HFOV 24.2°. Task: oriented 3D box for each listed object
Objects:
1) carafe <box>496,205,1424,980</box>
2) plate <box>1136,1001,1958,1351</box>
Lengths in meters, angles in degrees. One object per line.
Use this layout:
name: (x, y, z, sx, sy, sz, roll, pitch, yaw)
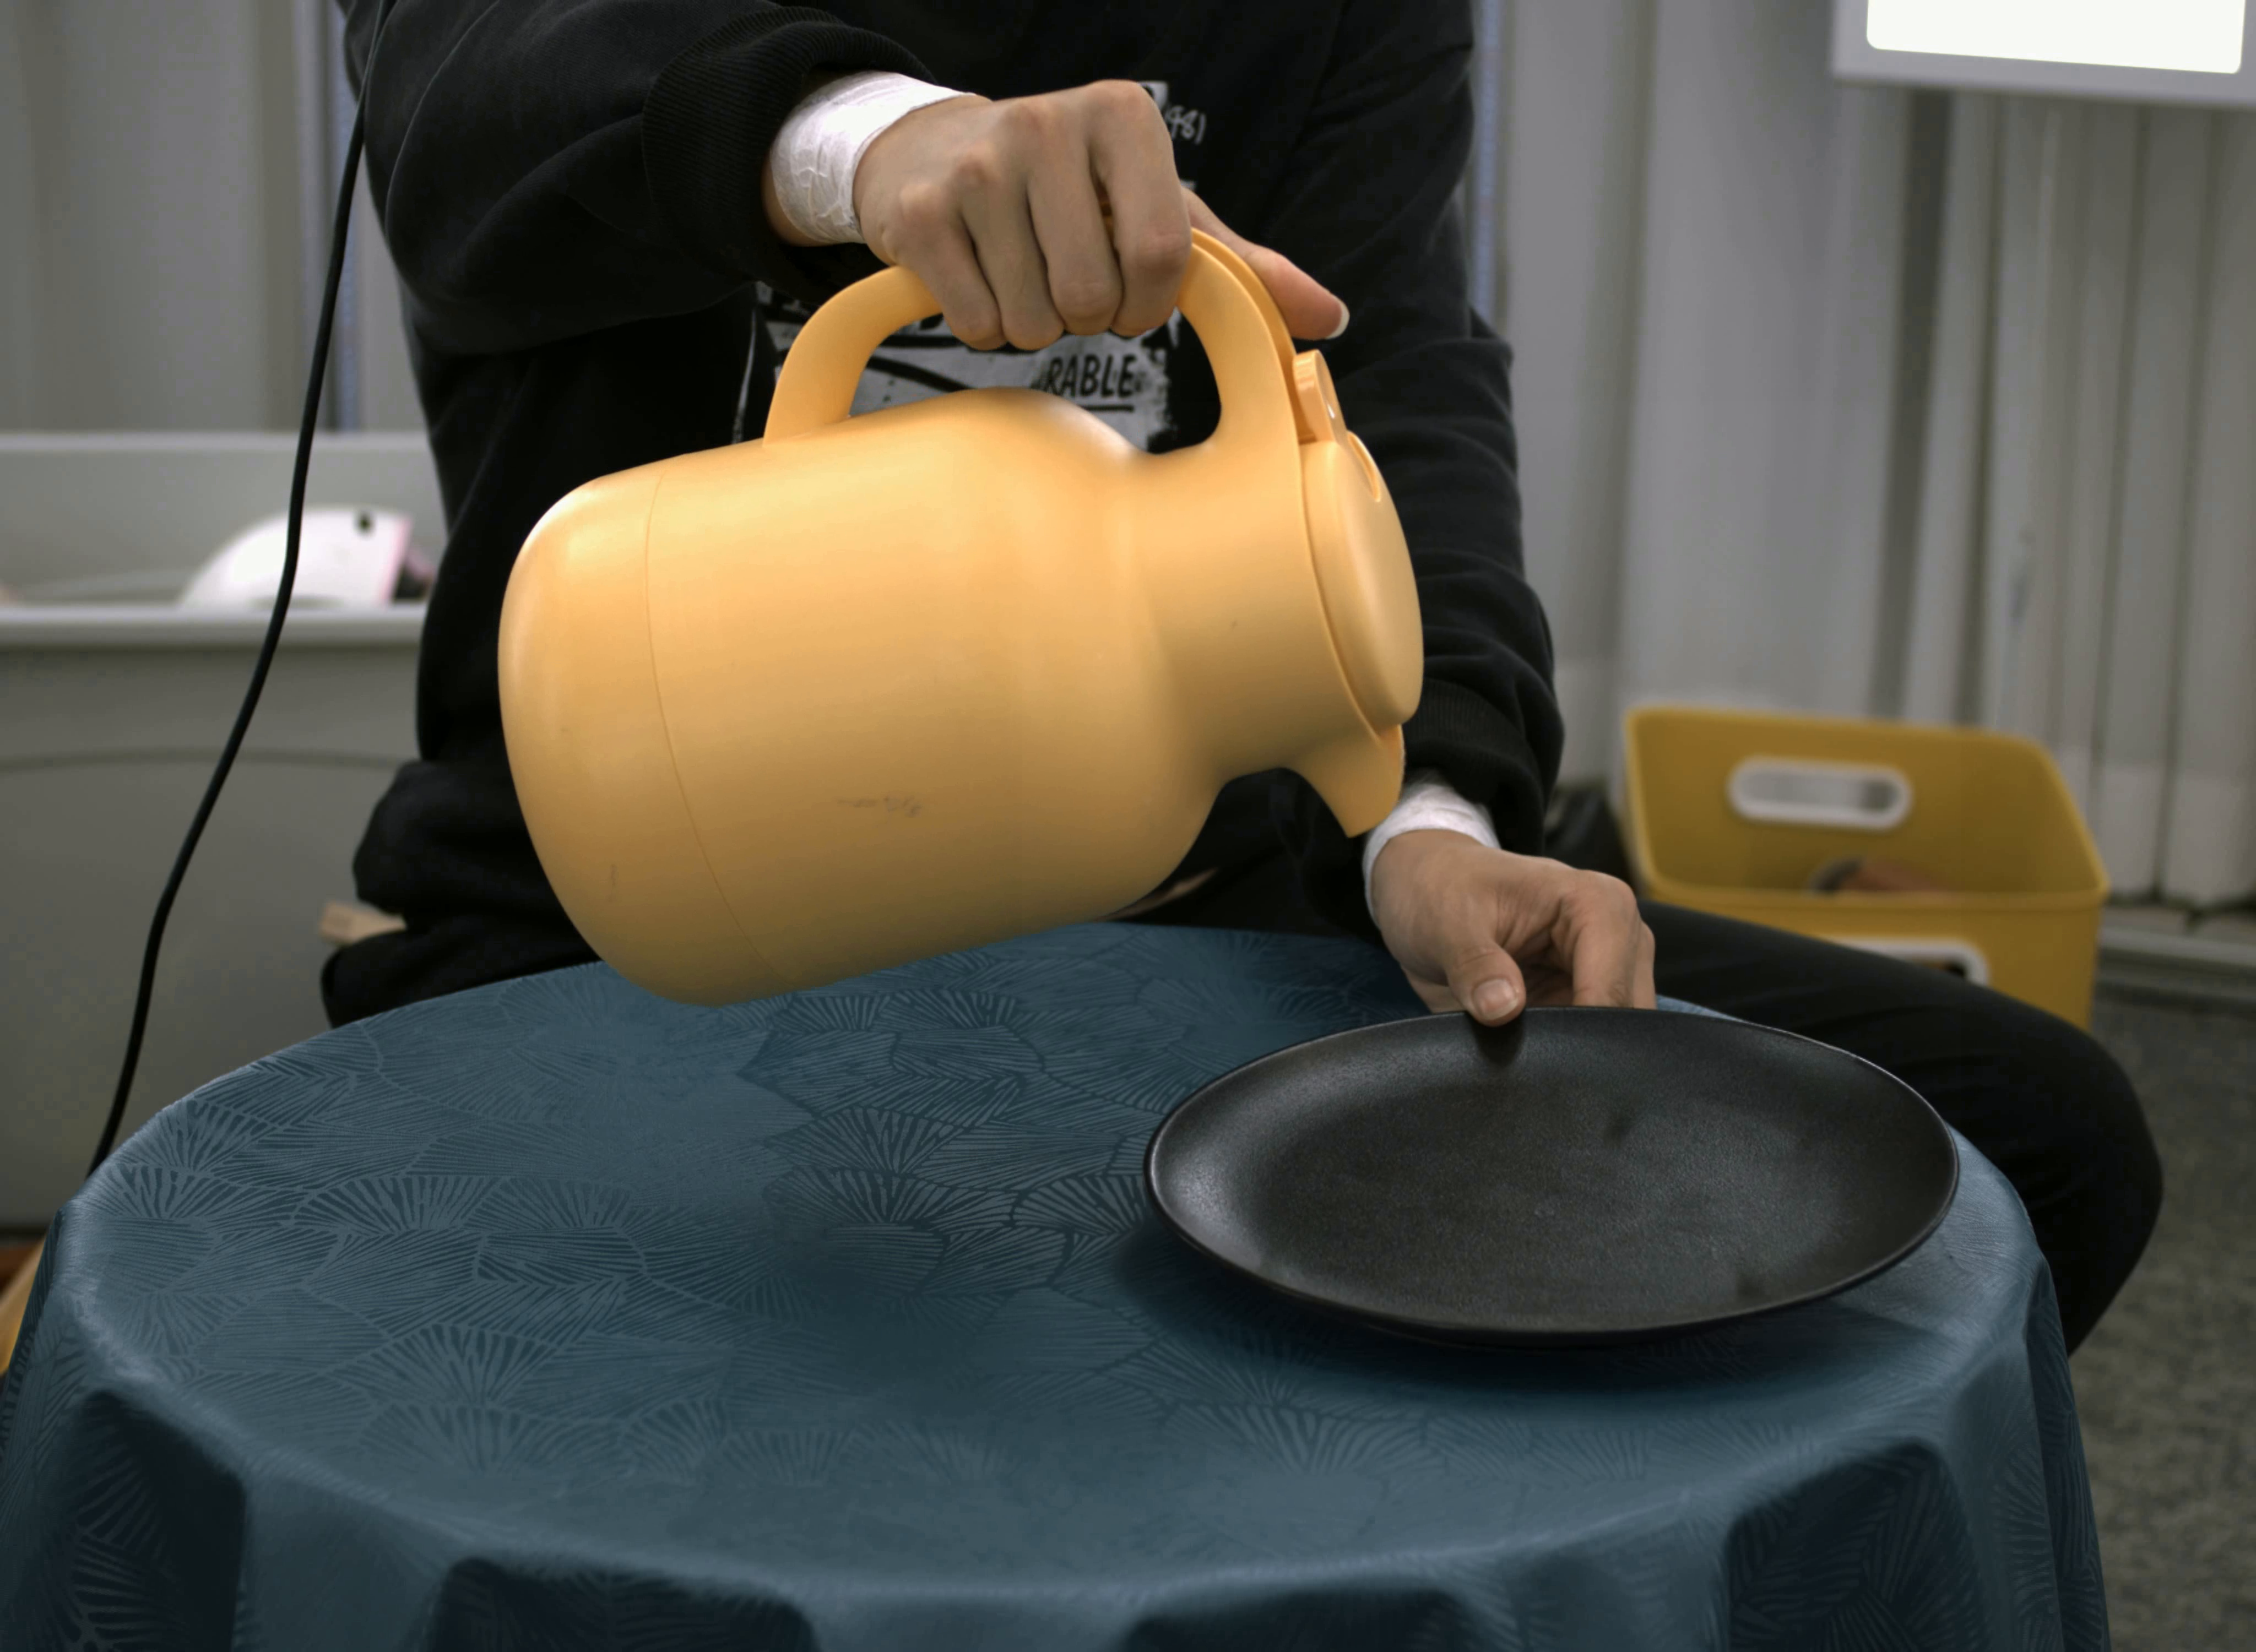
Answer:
carafe: (-0.048, -0.070, 1.539, 0.259, 0.203, 0.163, -10, 6, 11)
plate: (0.125, 0.107, 1.571, 0.243, 0.023, 0.243, -1, 20, 1)
